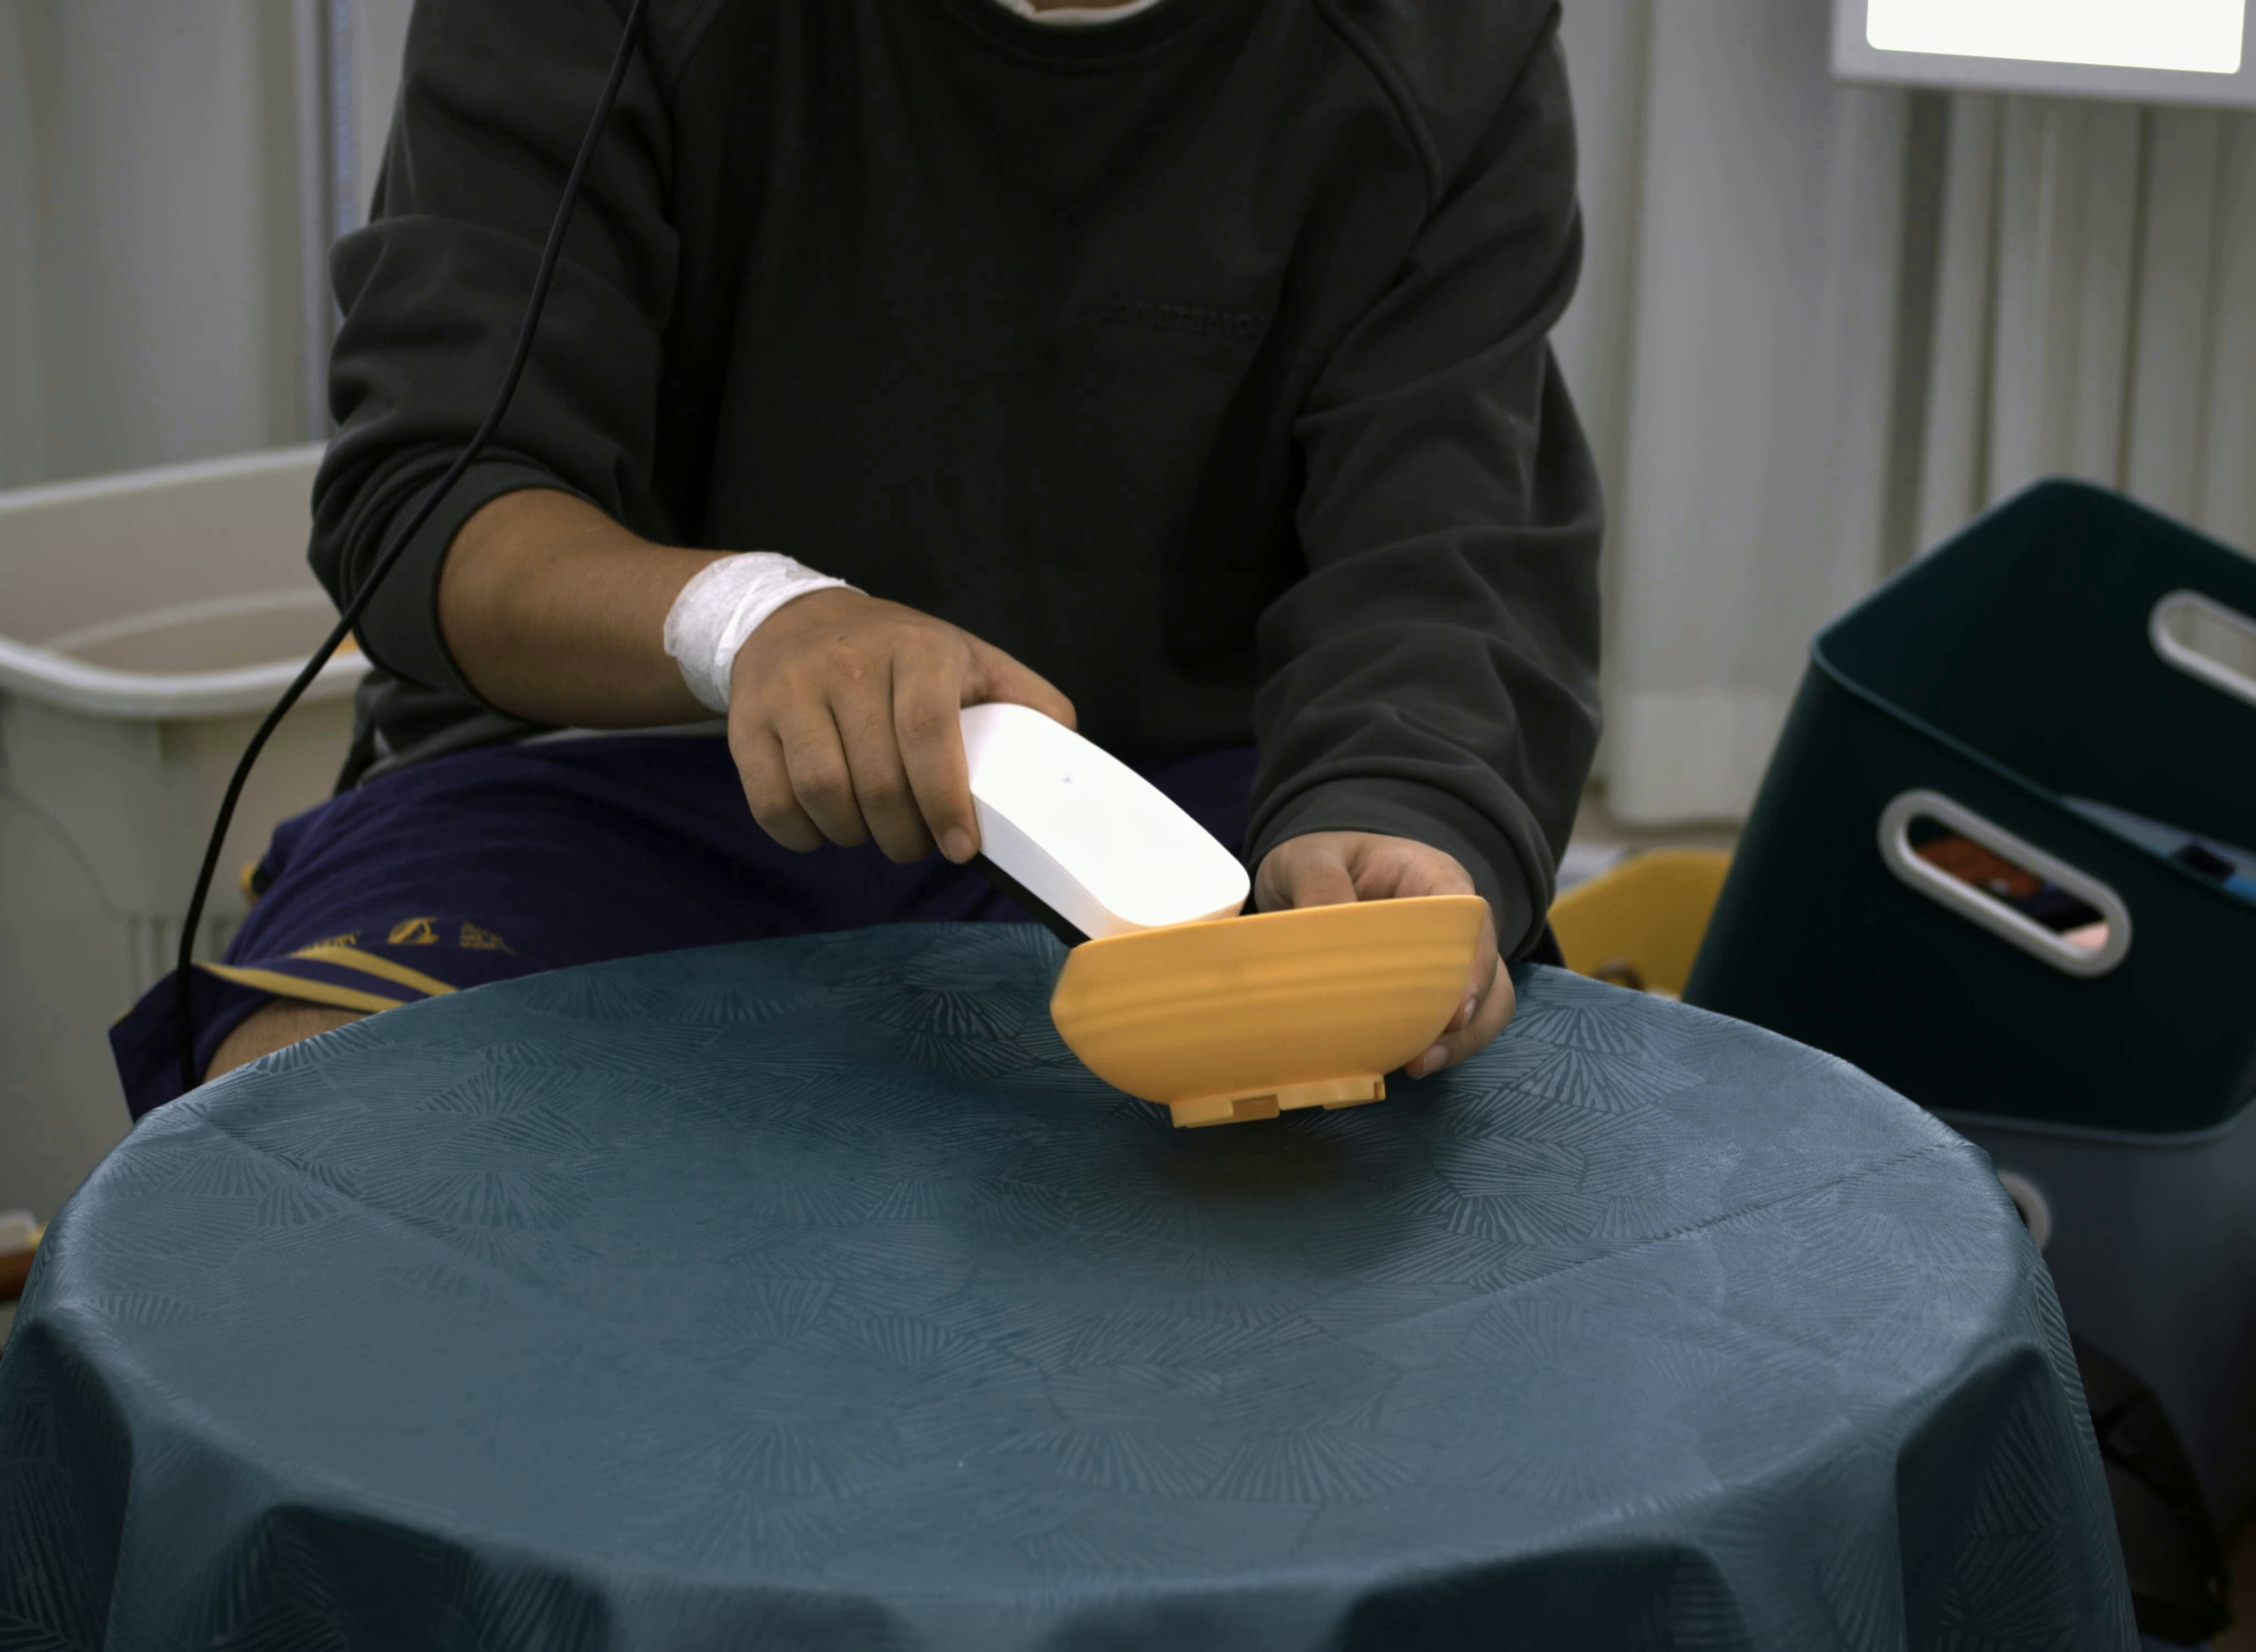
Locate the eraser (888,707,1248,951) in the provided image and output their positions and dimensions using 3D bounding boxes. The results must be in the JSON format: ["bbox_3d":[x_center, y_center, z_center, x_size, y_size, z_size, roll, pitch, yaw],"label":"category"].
[{"bbox_3d":[-0.020,0.002,1.715,0.064,0.035,0.129,-15,42,-41],"label":"eraser"}]

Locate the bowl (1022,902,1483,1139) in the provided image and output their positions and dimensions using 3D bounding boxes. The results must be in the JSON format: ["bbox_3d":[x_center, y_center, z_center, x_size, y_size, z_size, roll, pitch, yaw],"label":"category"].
[{"bbox_3d":[0.042,0.063,1.633,0.145,0.060,0.146,-7,-8,0],"label":"bowl"}]
